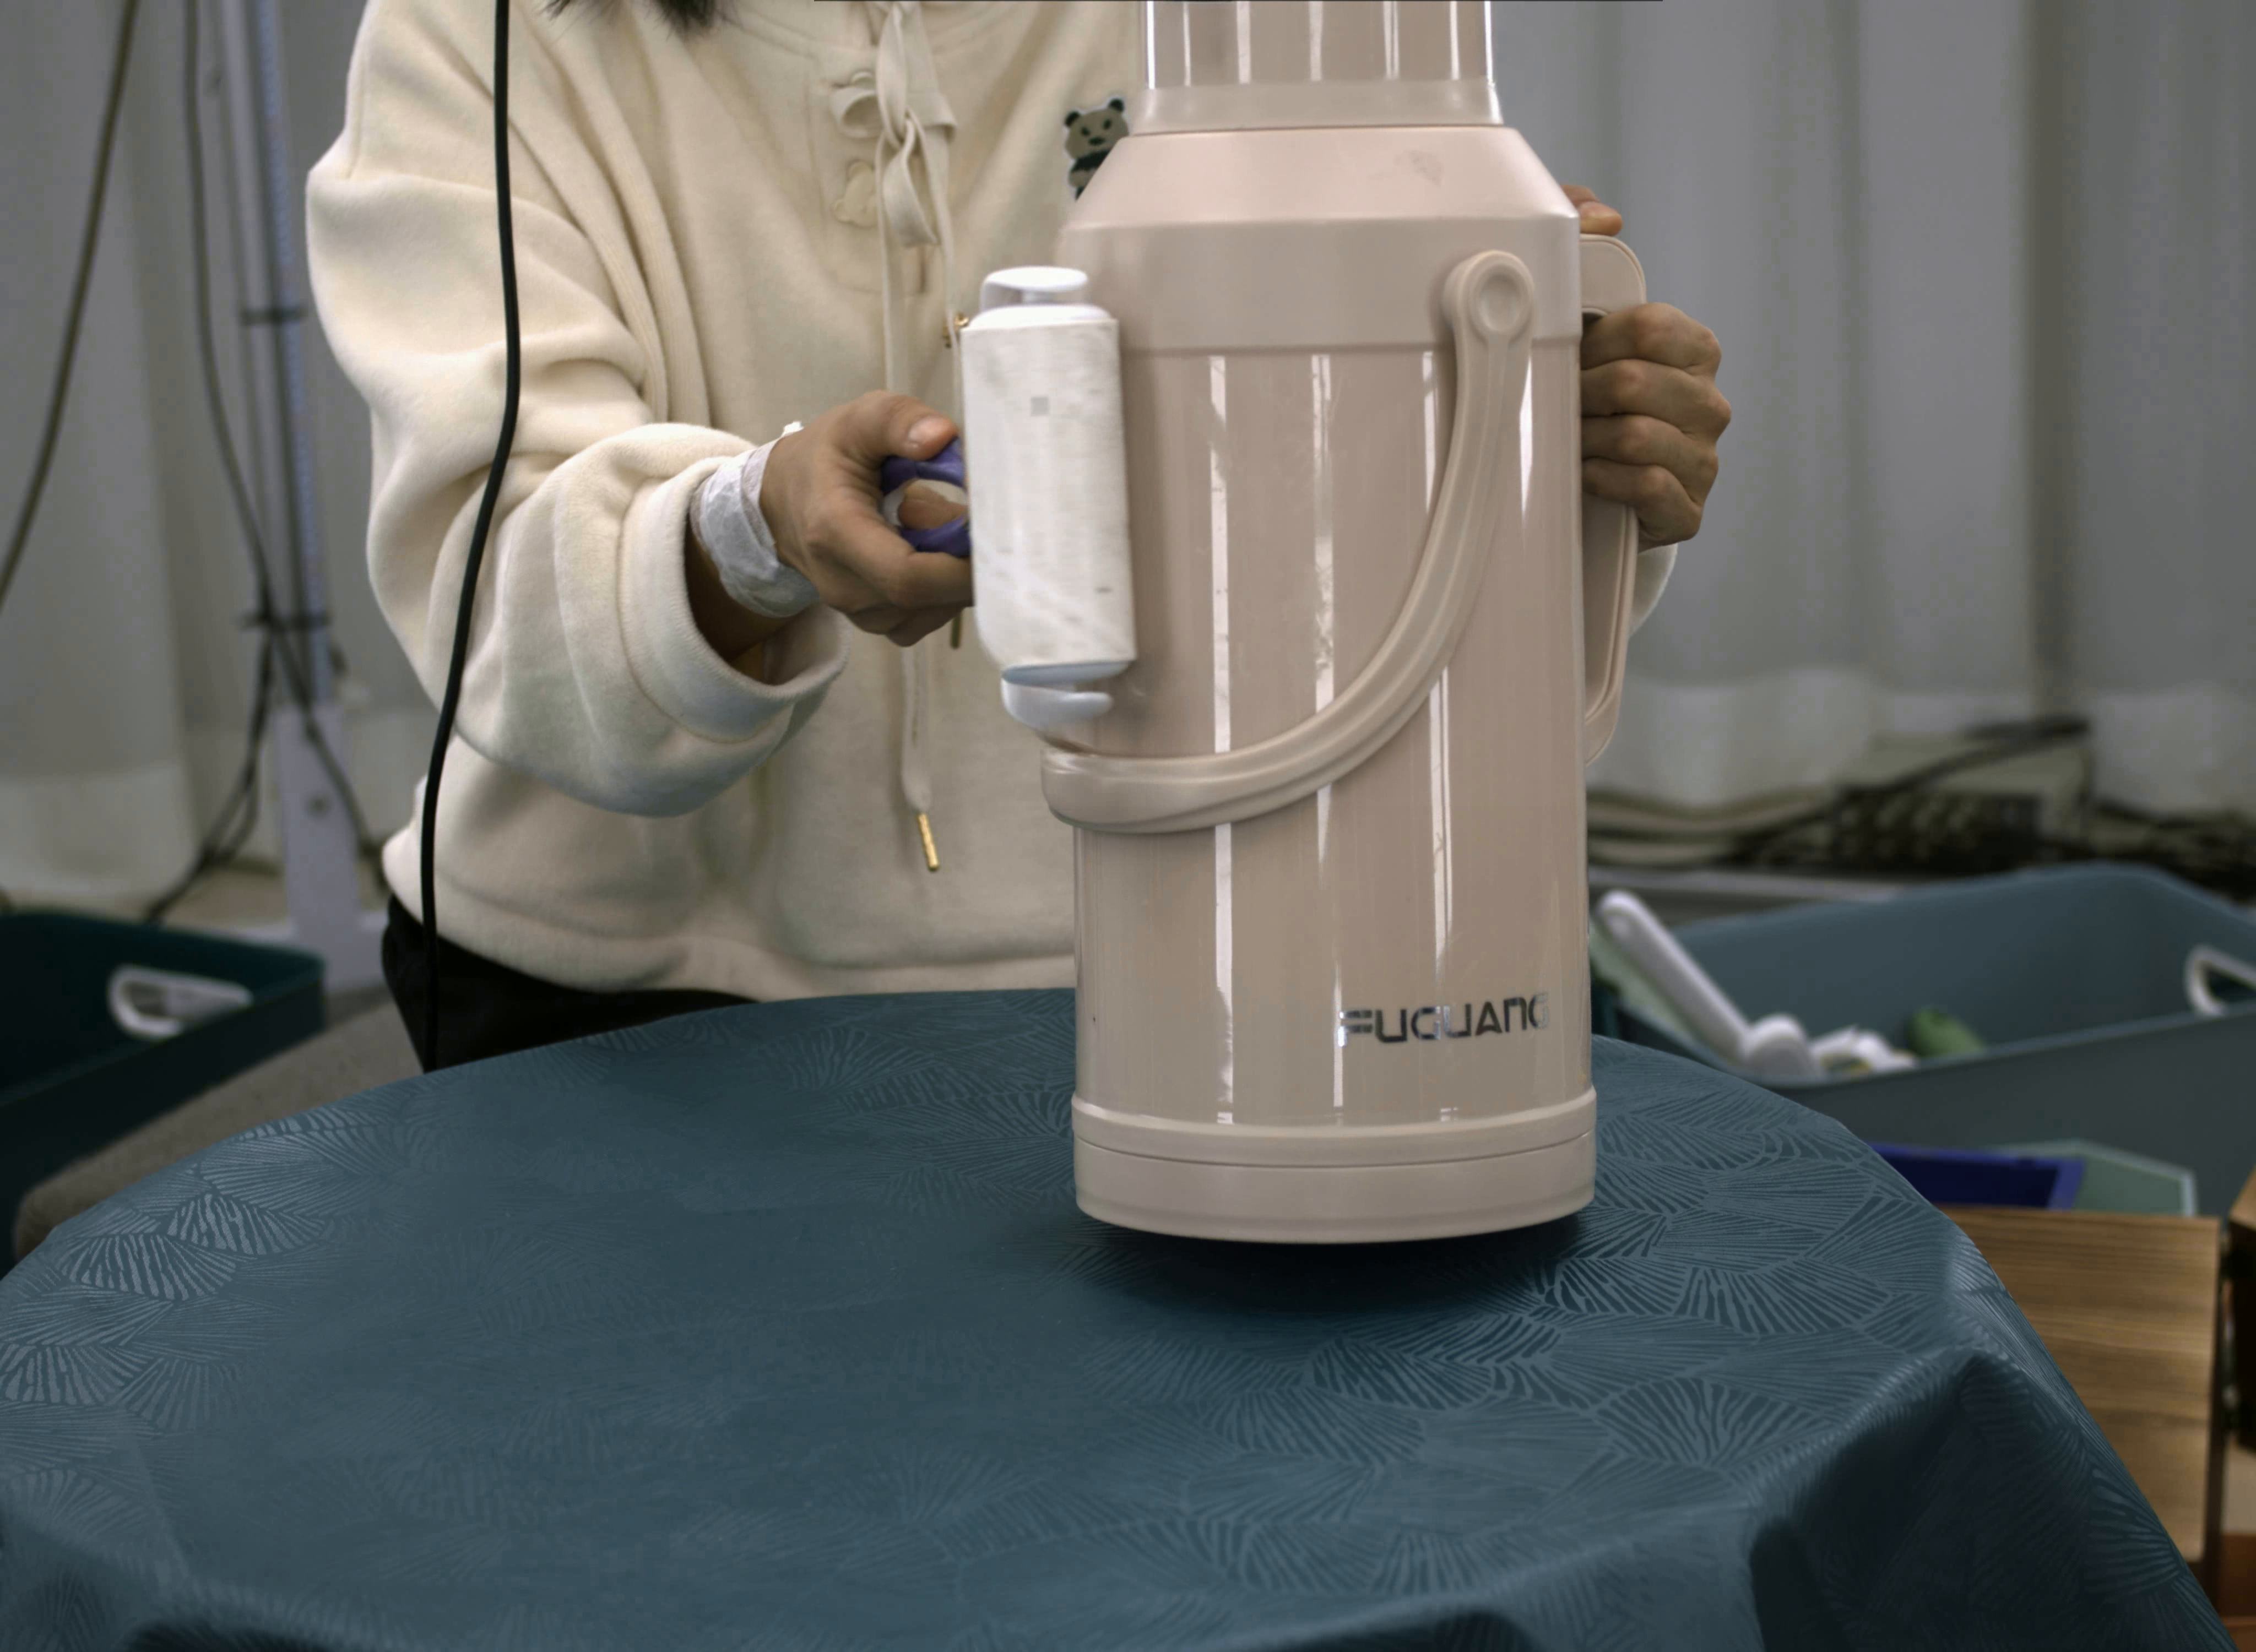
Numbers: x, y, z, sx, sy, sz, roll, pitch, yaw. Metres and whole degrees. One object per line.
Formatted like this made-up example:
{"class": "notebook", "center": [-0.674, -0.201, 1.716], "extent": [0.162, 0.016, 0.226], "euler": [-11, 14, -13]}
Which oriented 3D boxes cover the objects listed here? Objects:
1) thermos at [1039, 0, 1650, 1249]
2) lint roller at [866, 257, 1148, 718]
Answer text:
{"class": "thermos", "center": [0.071, -0.085, 1.652], "extent": [0.206, 0.407, 0.176], "euler": [-4, 4, -34]}
{"class": "lint roller", "center": [-0.051, -0.101, 1.641], "extent": [0.050, 0.133, 0.181], "euler": [-5, 4, -30]}
